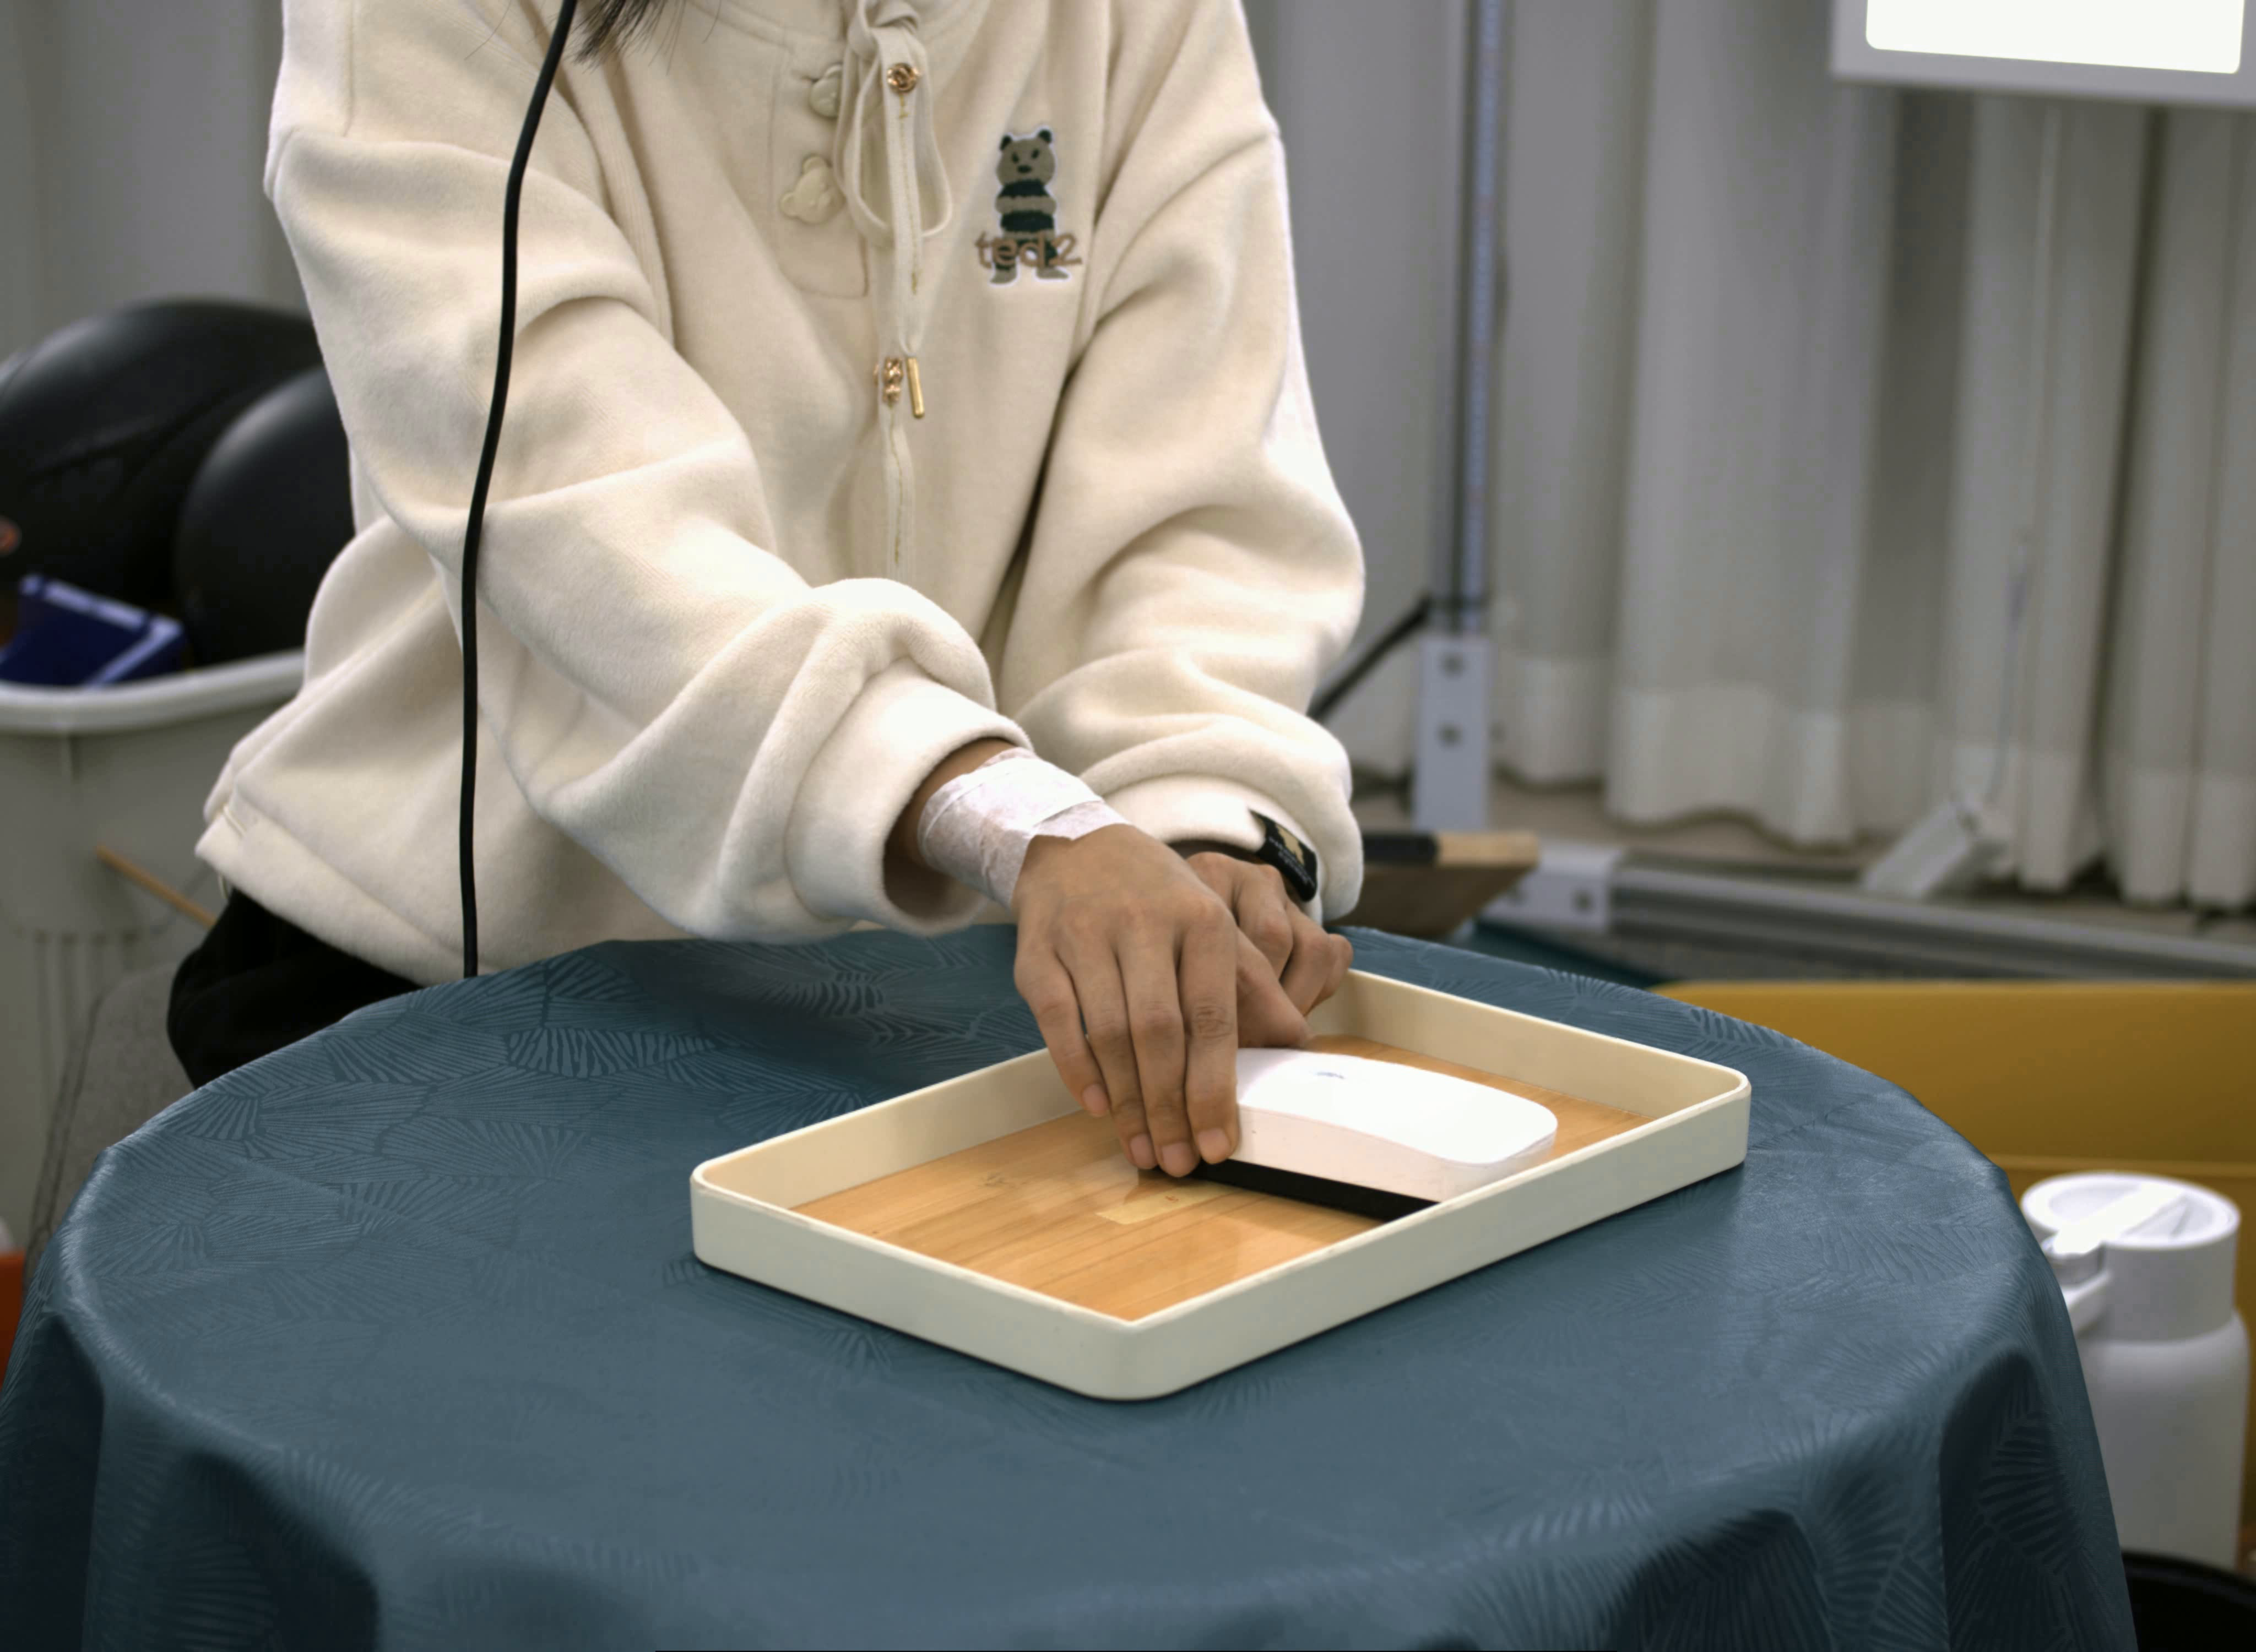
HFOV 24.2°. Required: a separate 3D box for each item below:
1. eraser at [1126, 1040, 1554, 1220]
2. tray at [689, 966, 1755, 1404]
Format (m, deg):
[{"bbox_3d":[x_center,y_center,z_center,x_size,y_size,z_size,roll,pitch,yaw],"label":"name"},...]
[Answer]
[{"bbox_3d":[0.065,0.093,1.613,0.129,0.035,0.063,11,18,33],"label":"eraser"},{"bbox_3d":[0.033,0.104,1.603,0.189,0.027,0.302,15,21,41],"label":"tray"}]
